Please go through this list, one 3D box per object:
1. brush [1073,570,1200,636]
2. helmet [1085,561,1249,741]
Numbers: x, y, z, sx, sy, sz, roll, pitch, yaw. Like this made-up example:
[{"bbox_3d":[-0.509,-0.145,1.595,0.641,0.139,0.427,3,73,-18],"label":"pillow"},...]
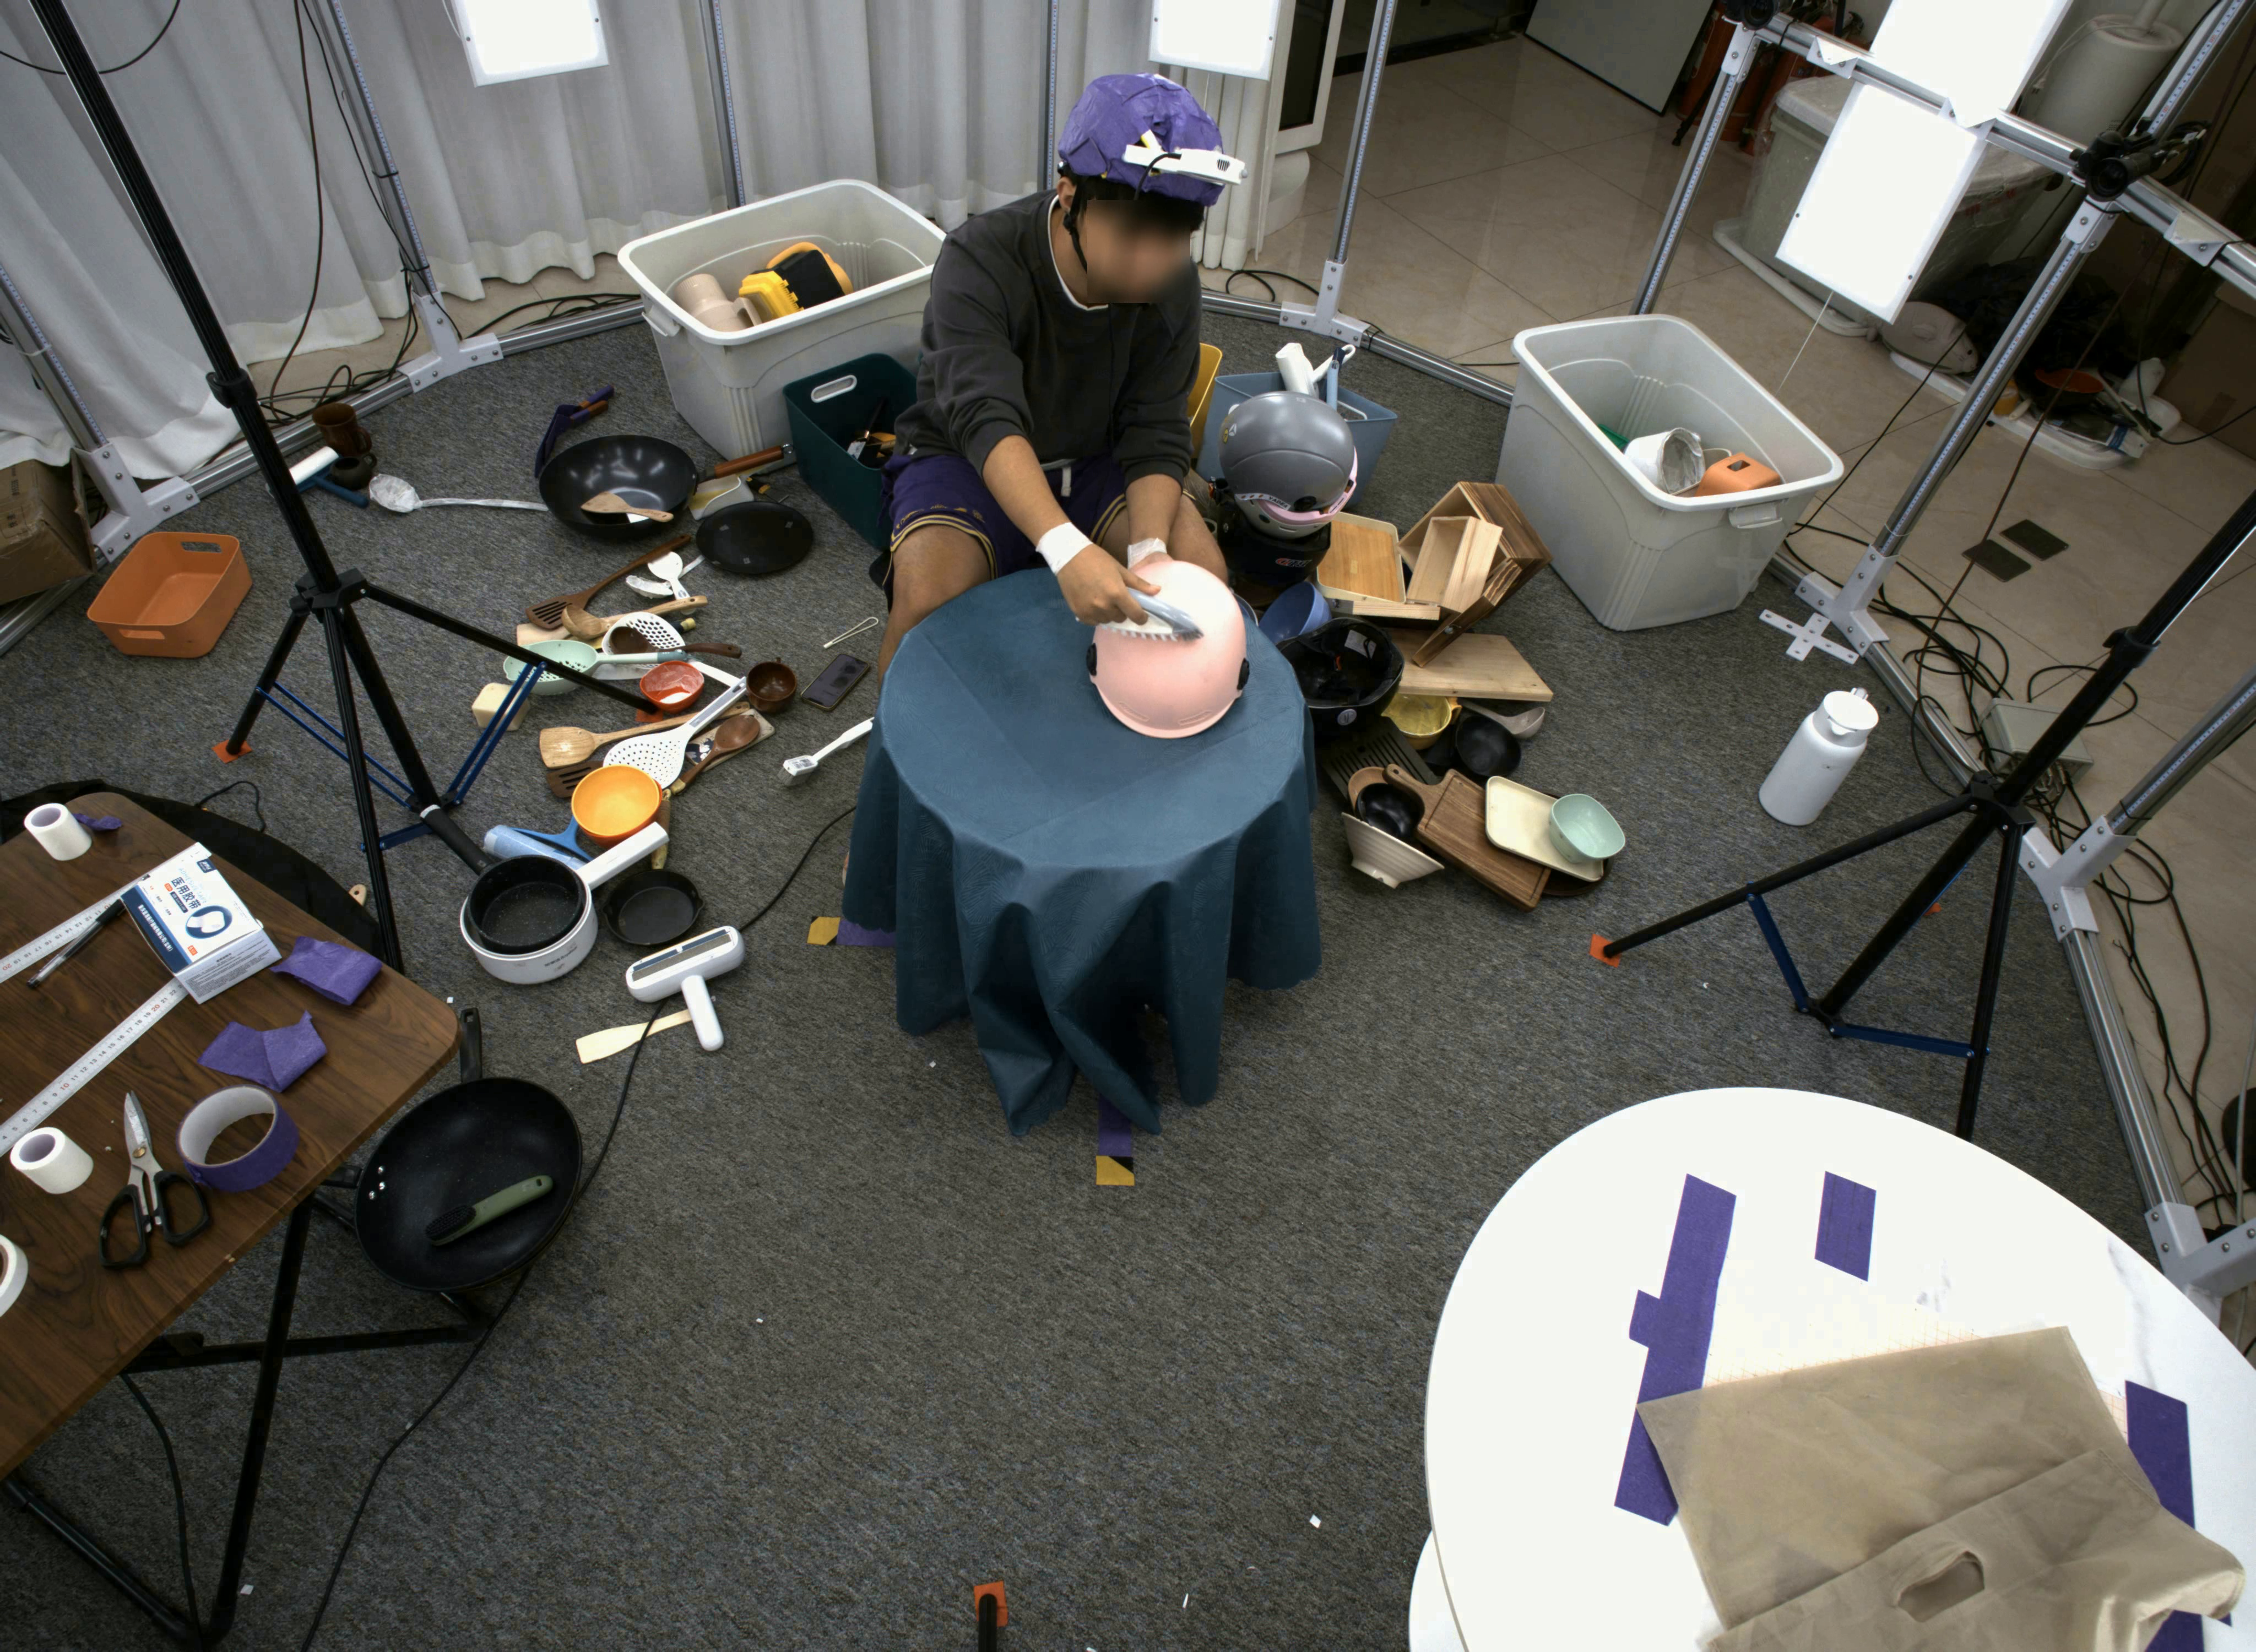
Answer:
[{"bbox_3d":[0.010,-0.291,1.687,0.176,0.093,0.062,18,85,8],"label":"brush"},{"bbox_3d":[0.060,-0.266,1.803,0.234,0.155,0.272,6,56,0],"label":"helmet"}]
